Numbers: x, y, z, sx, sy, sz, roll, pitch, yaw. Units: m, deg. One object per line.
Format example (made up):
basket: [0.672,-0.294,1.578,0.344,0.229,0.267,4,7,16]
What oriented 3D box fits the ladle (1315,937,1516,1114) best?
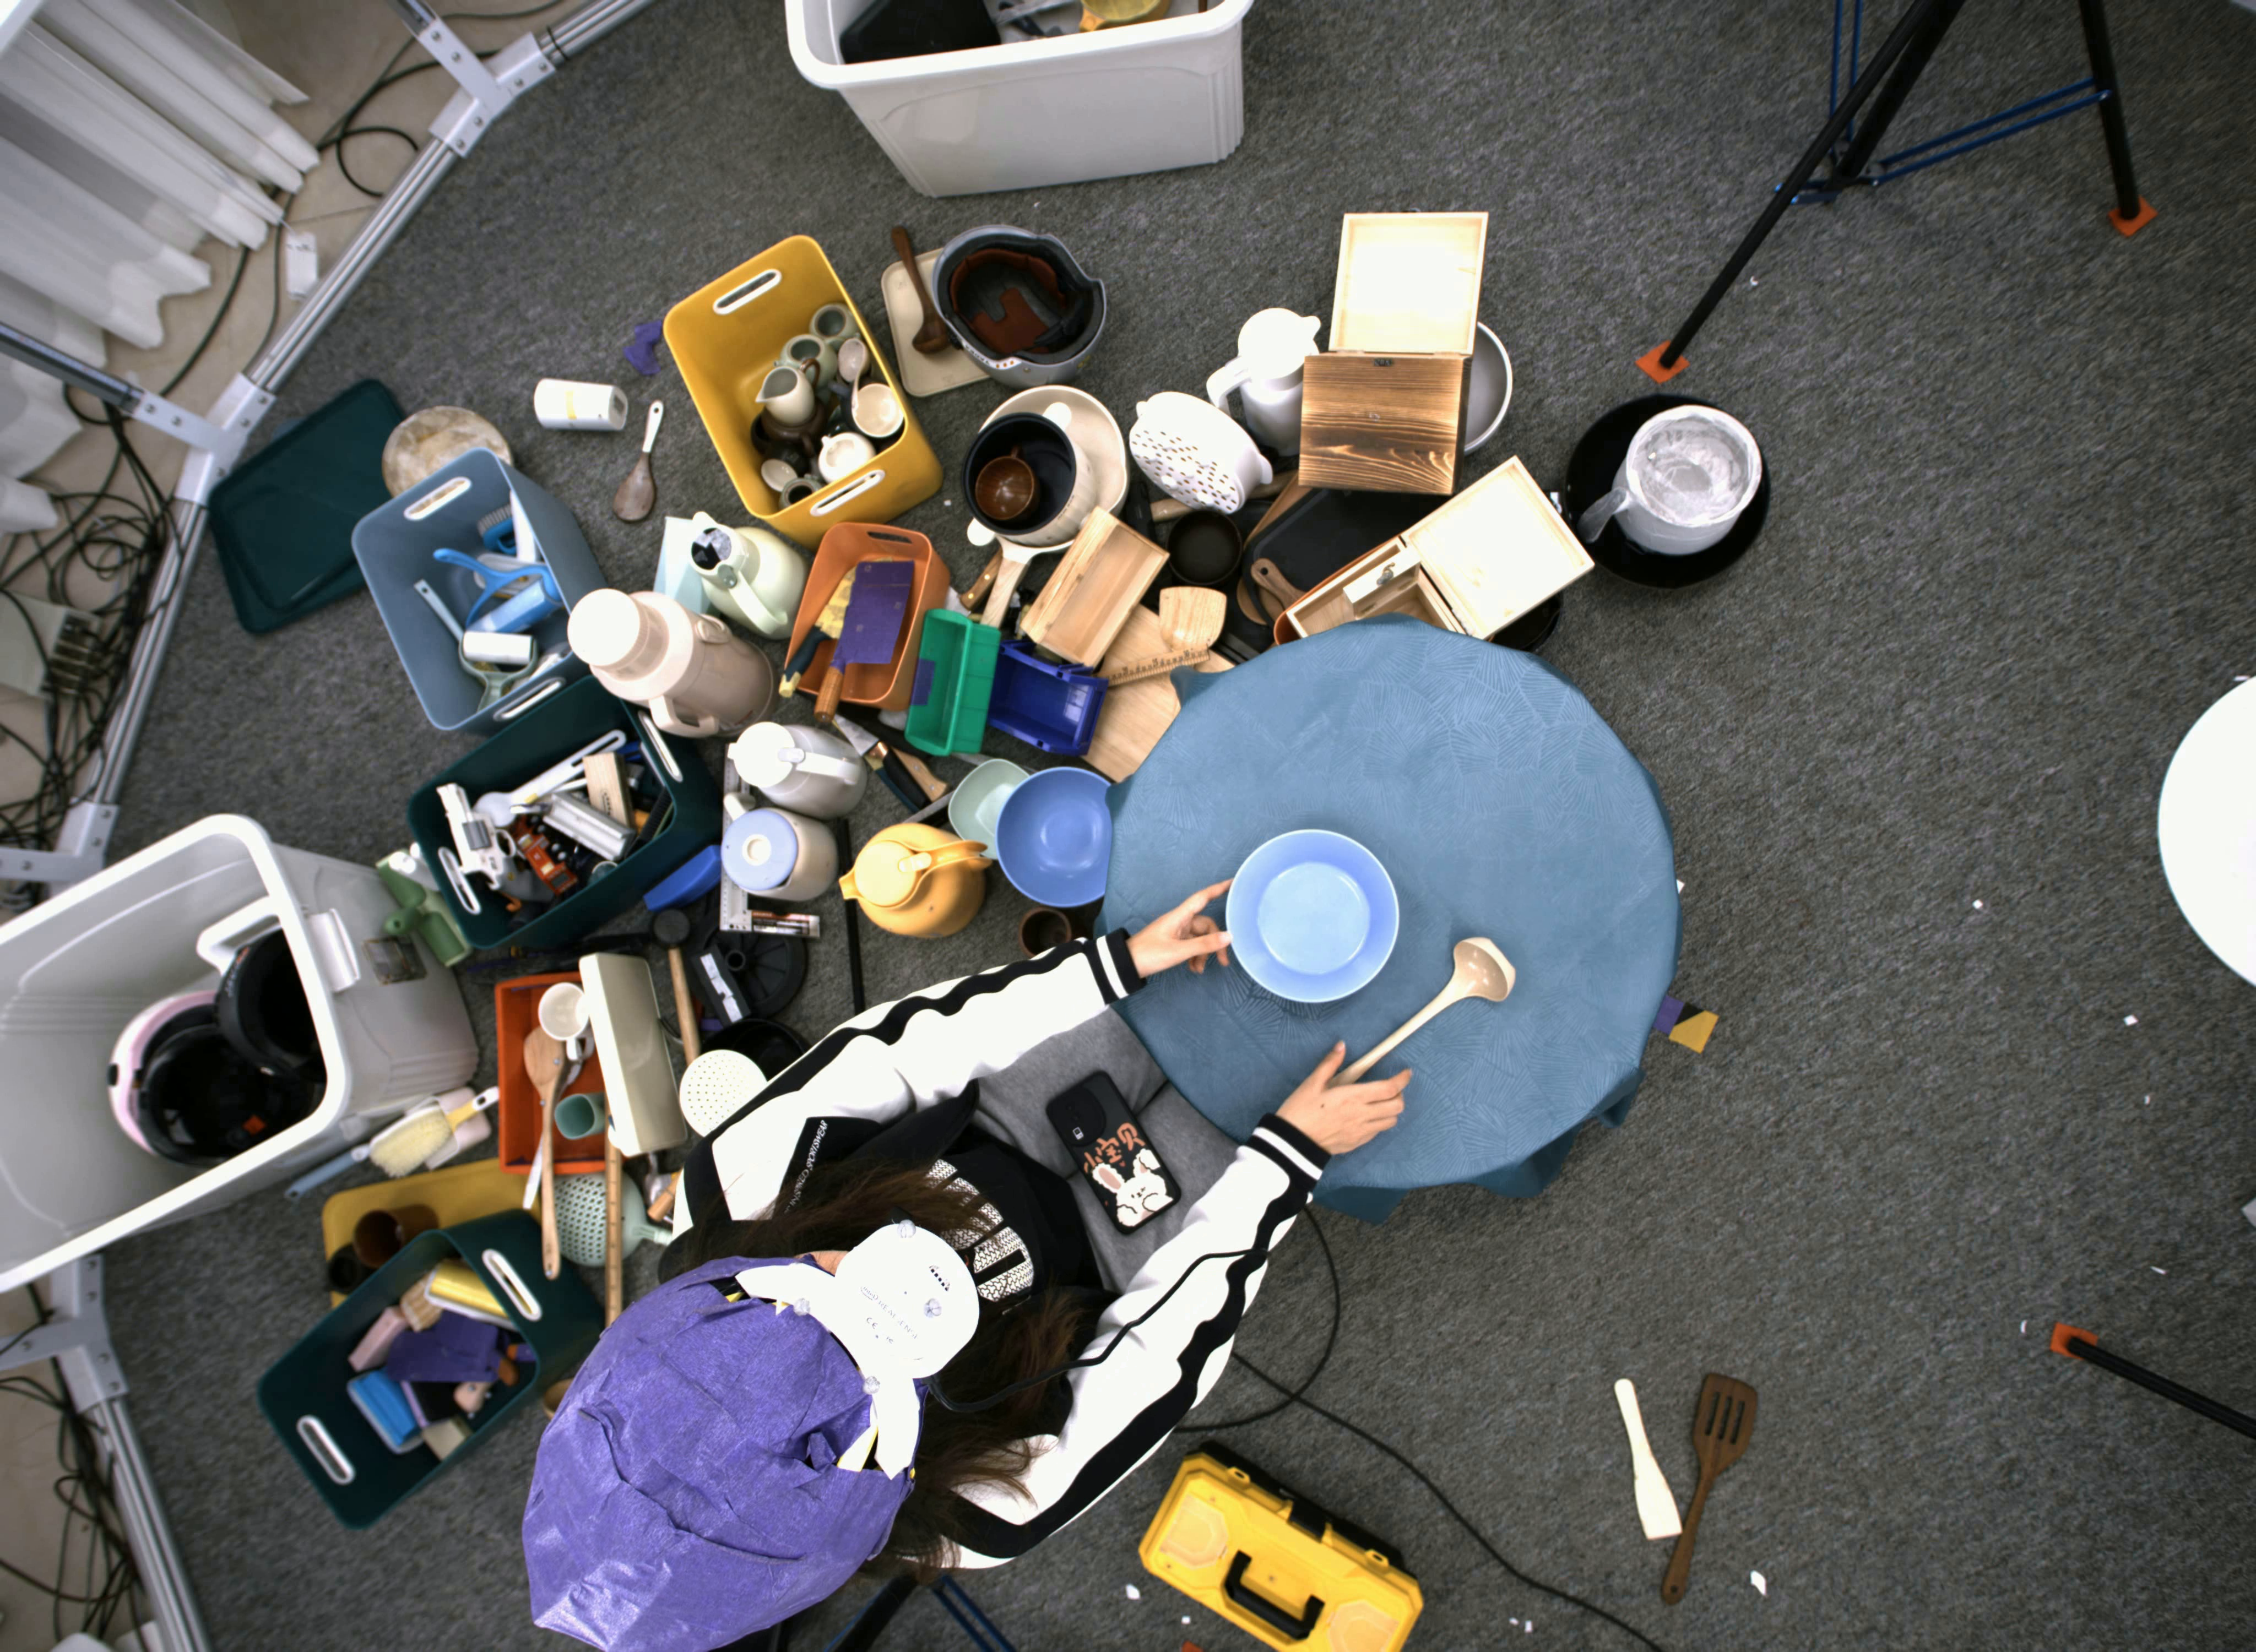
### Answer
ladle: [0.287,0.210,1.412,0.255,0.073,0.072,-42,78,5]

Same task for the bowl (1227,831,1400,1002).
bowl: [0.193,0.095,1.438,0.177,0.070,0.175,-1,85,11]
